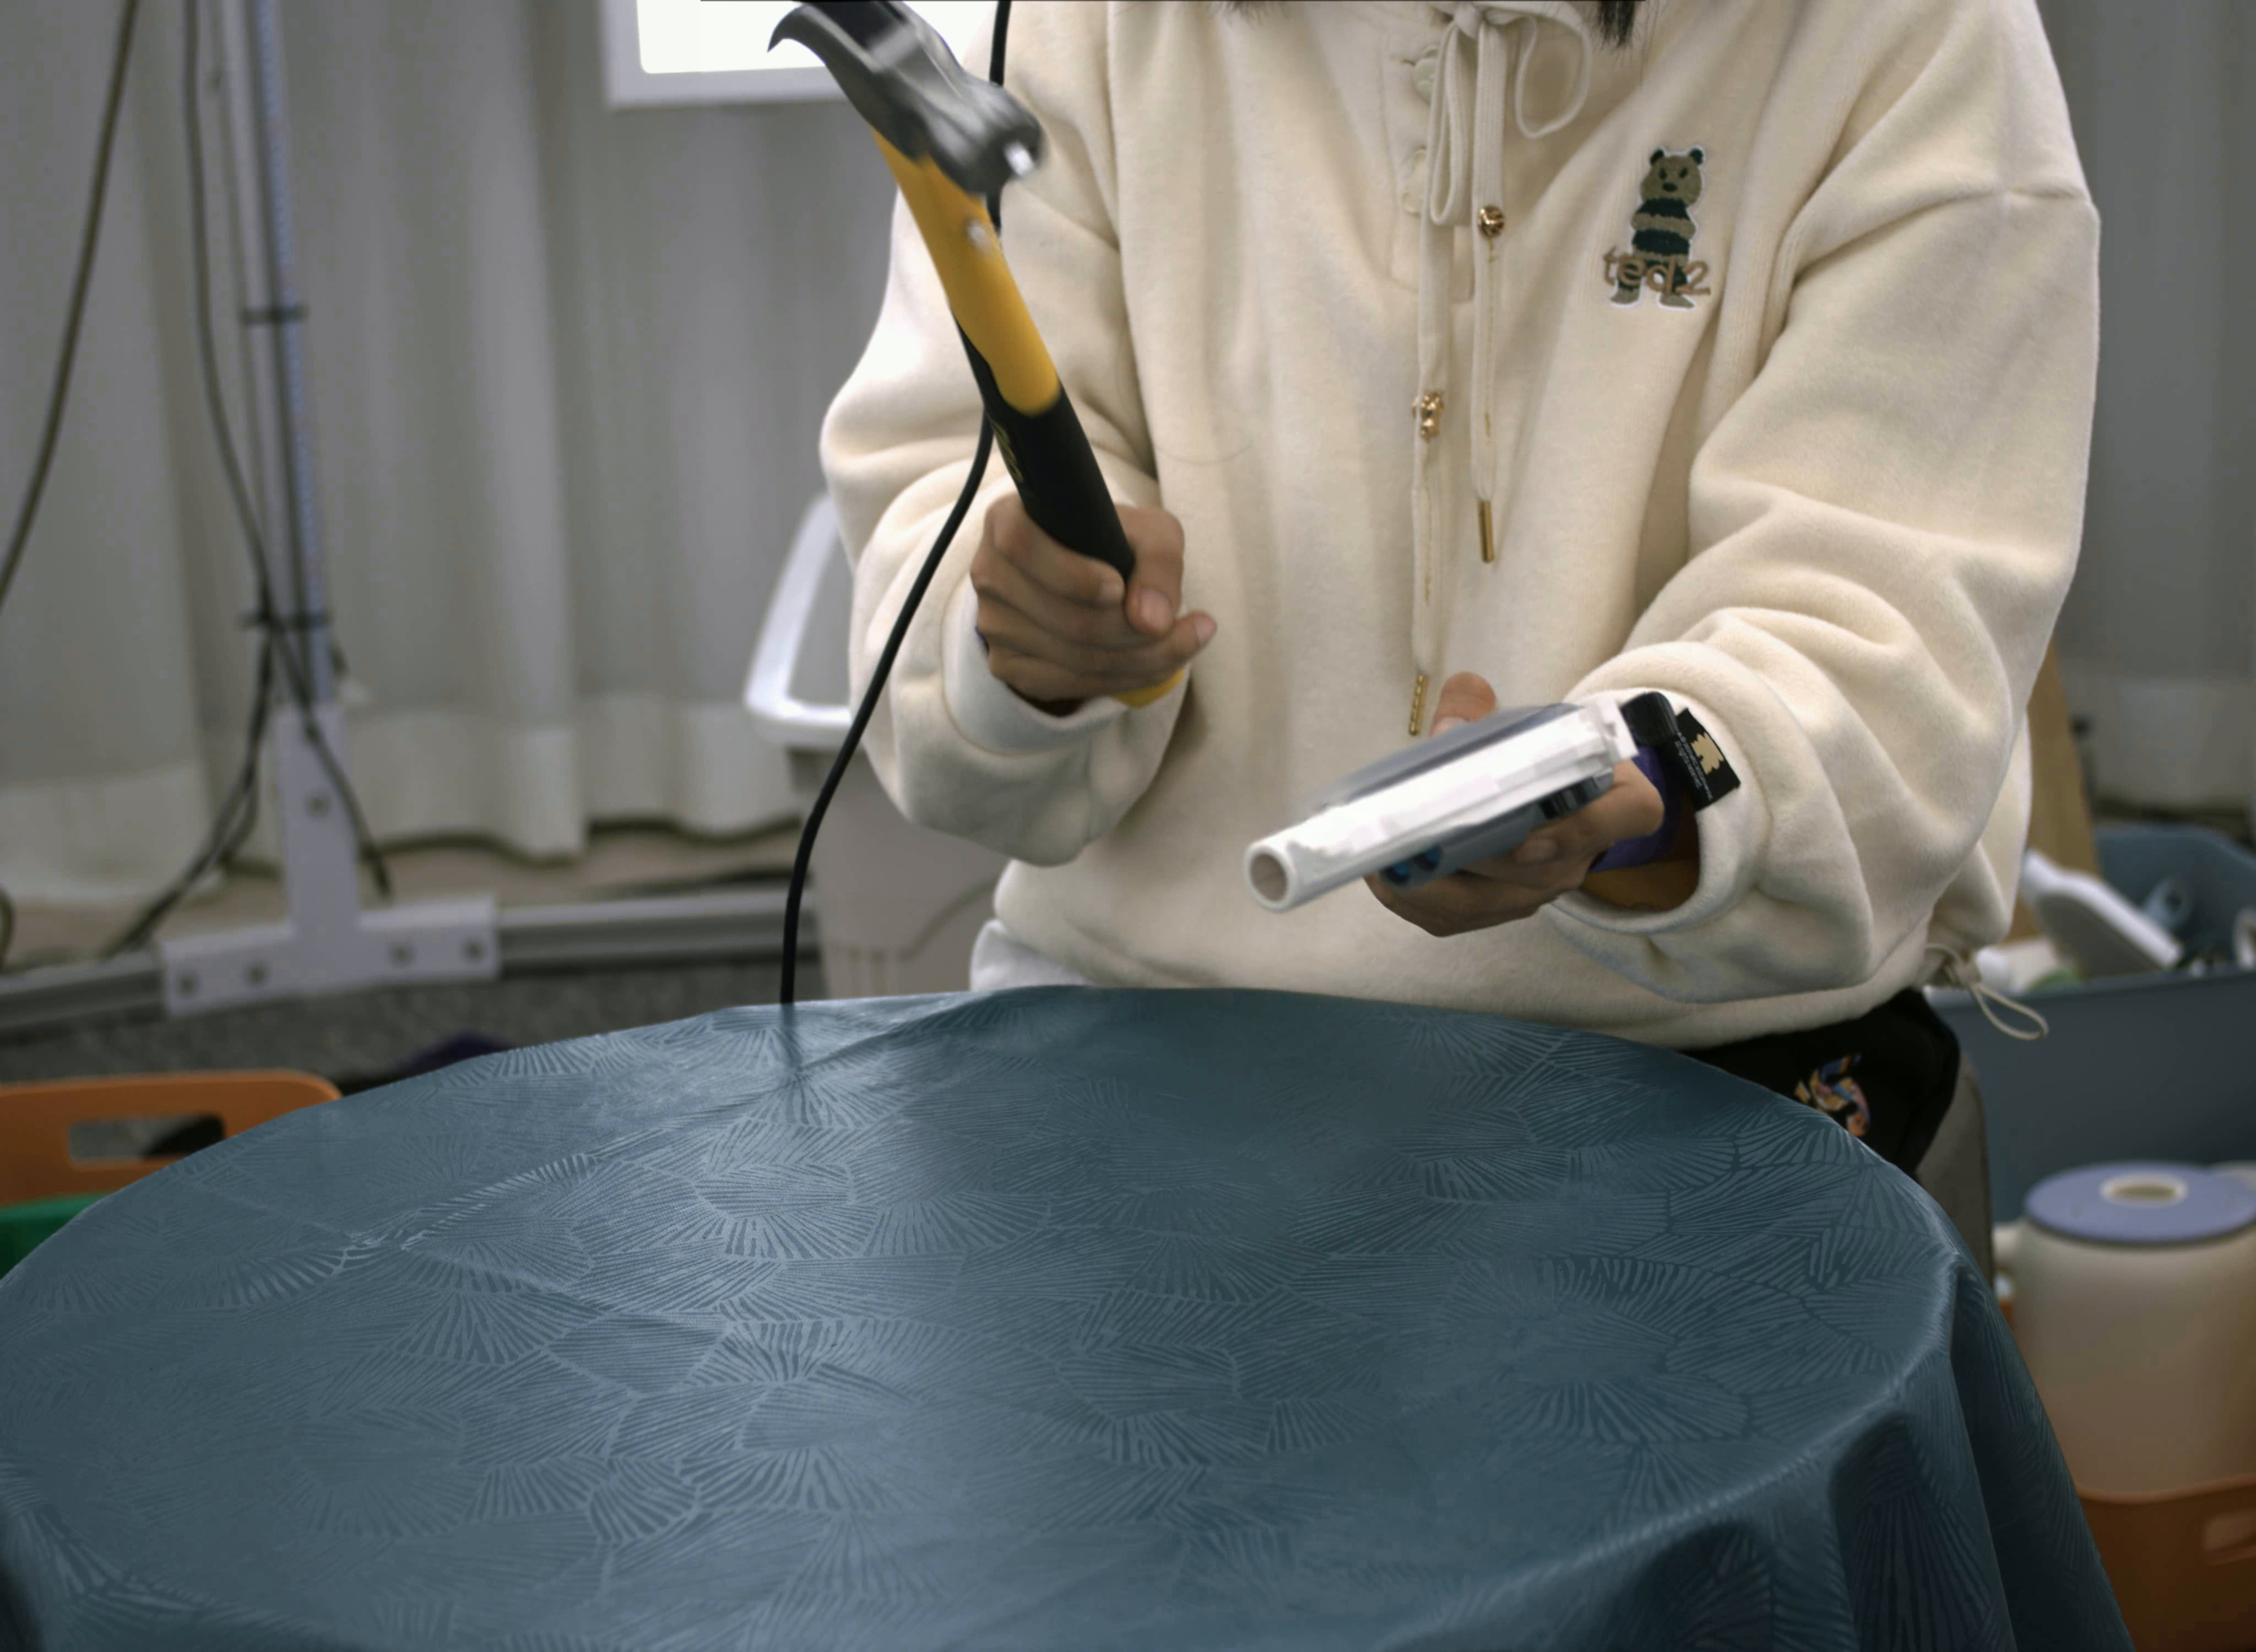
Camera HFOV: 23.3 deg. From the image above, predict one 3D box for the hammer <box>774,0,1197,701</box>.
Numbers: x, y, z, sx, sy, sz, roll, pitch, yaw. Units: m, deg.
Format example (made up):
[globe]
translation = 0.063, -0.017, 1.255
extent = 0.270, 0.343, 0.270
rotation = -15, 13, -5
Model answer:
[hammer]
translation = -0.030, -0.143, 1.726
extent = 0.032, 0.334, 0.133
rotation = -39, 56, -10

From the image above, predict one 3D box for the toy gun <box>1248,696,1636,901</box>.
[toy gun]
translation = 0.077, -0.002, 1.576
extent = 0.209, 0.039, 0.141
rotation = -20, -3, -45
